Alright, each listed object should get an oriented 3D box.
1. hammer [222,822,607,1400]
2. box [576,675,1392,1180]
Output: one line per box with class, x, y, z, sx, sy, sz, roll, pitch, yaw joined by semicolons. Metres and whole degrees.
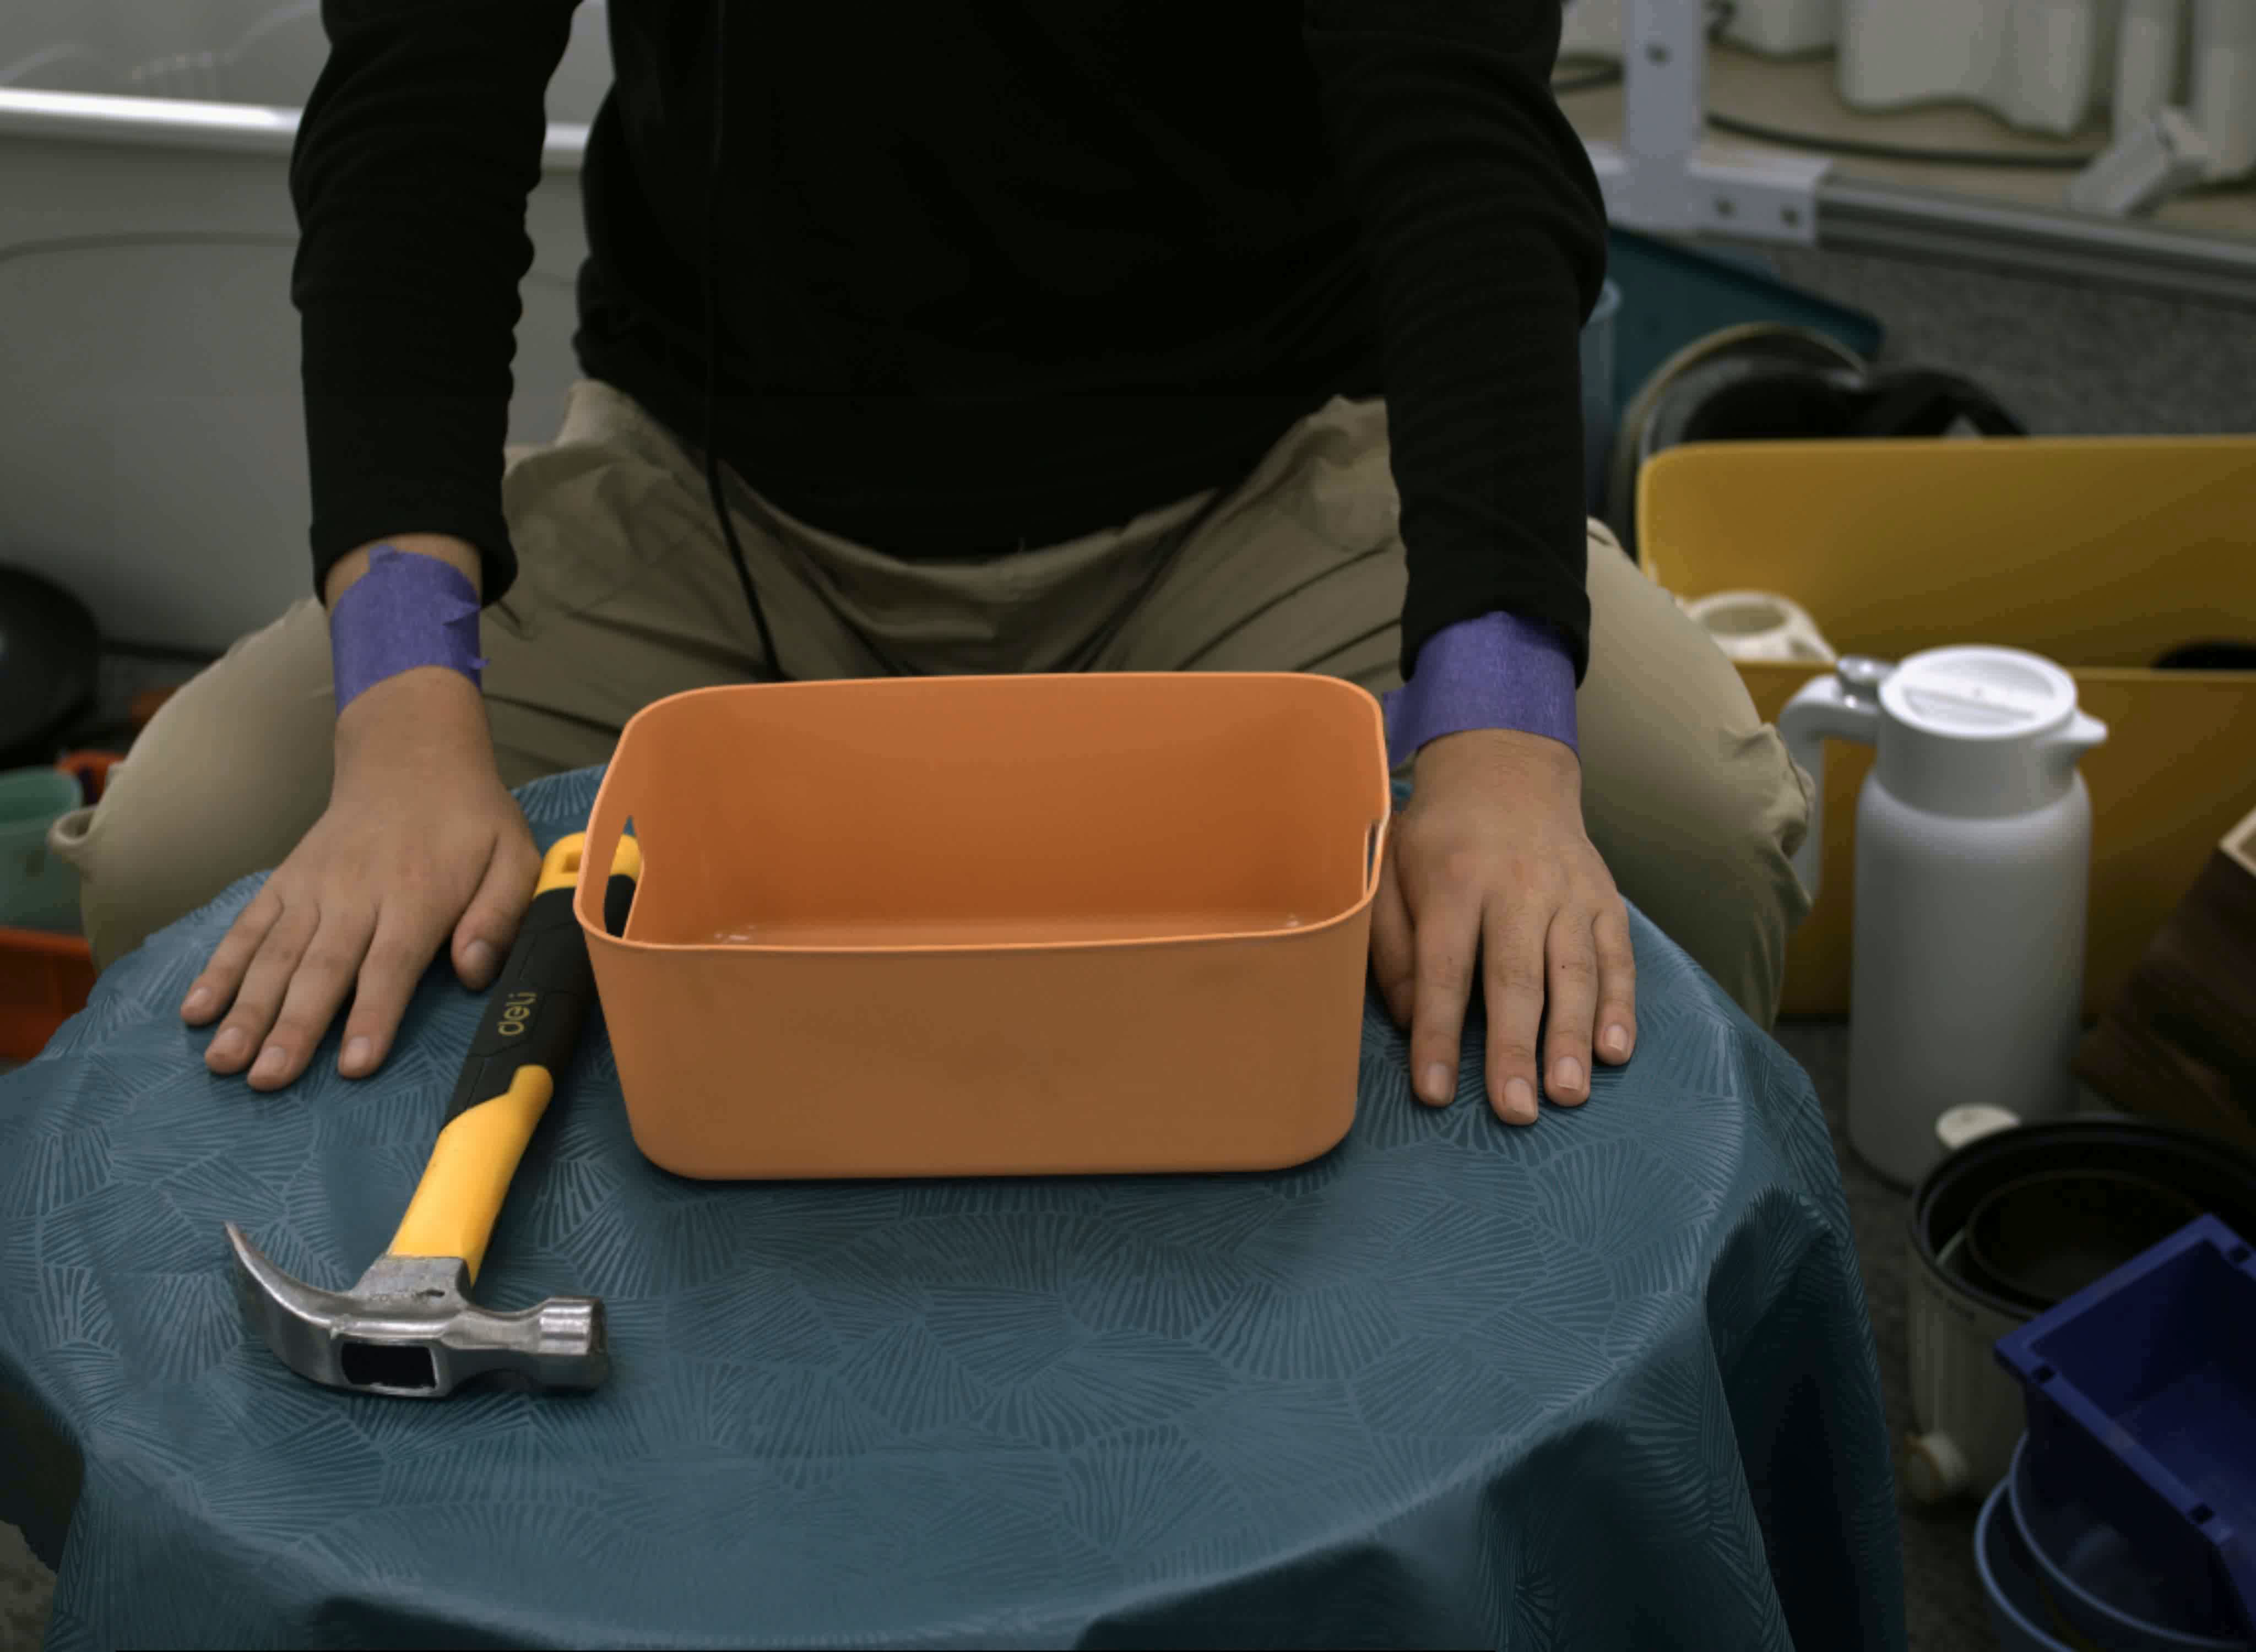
hammer;-0.212;0.088;1.905;0.130;0.032;0.344;1;28;8
box;-0.045;0.036;1.919;0.272;0.101;0.202;-1;26;3
